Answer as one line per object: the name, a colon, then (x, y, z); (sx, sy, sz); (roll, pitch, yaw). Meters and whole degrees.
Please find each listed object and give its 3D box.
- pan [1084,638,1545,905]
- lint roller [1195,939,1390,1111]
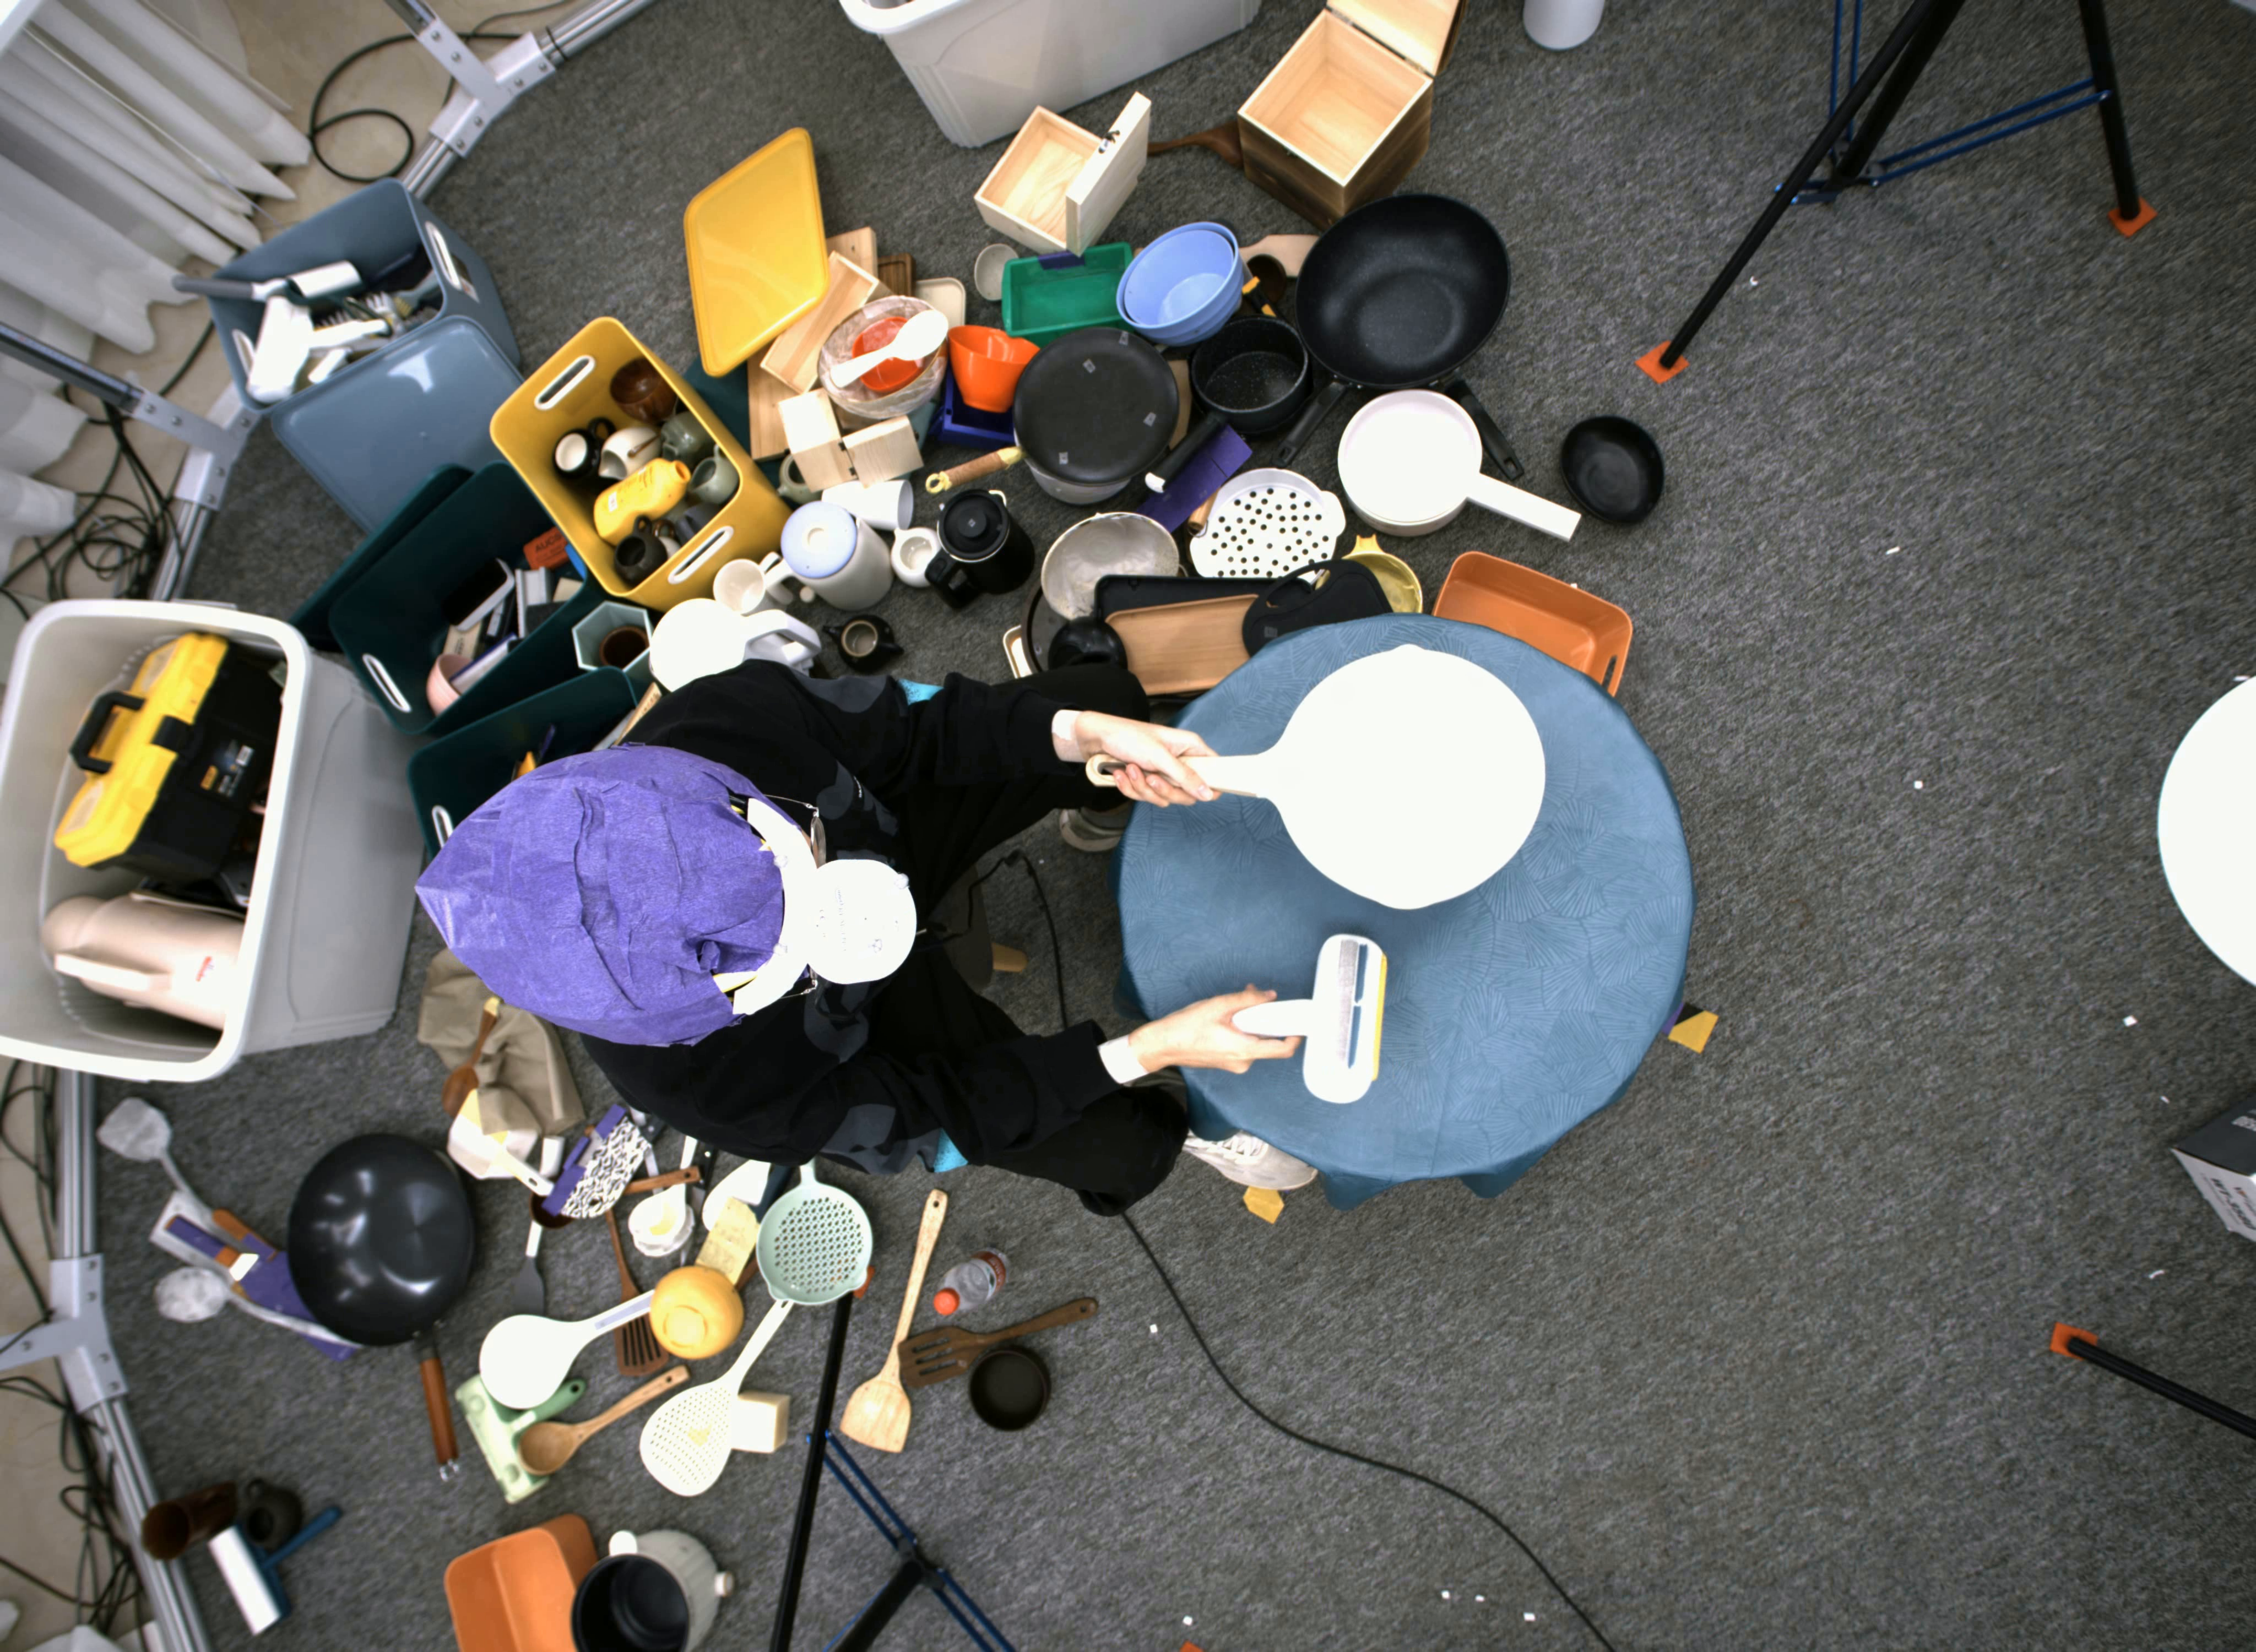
pan: (0.180, -0.047, 1.346); (0.437, 0.102, 0.260); (-1, 78, 14)
lint roller: (0.160, 0.194, 1.394); (0.193, 0.076, 0.188); (5, 52, 16)
